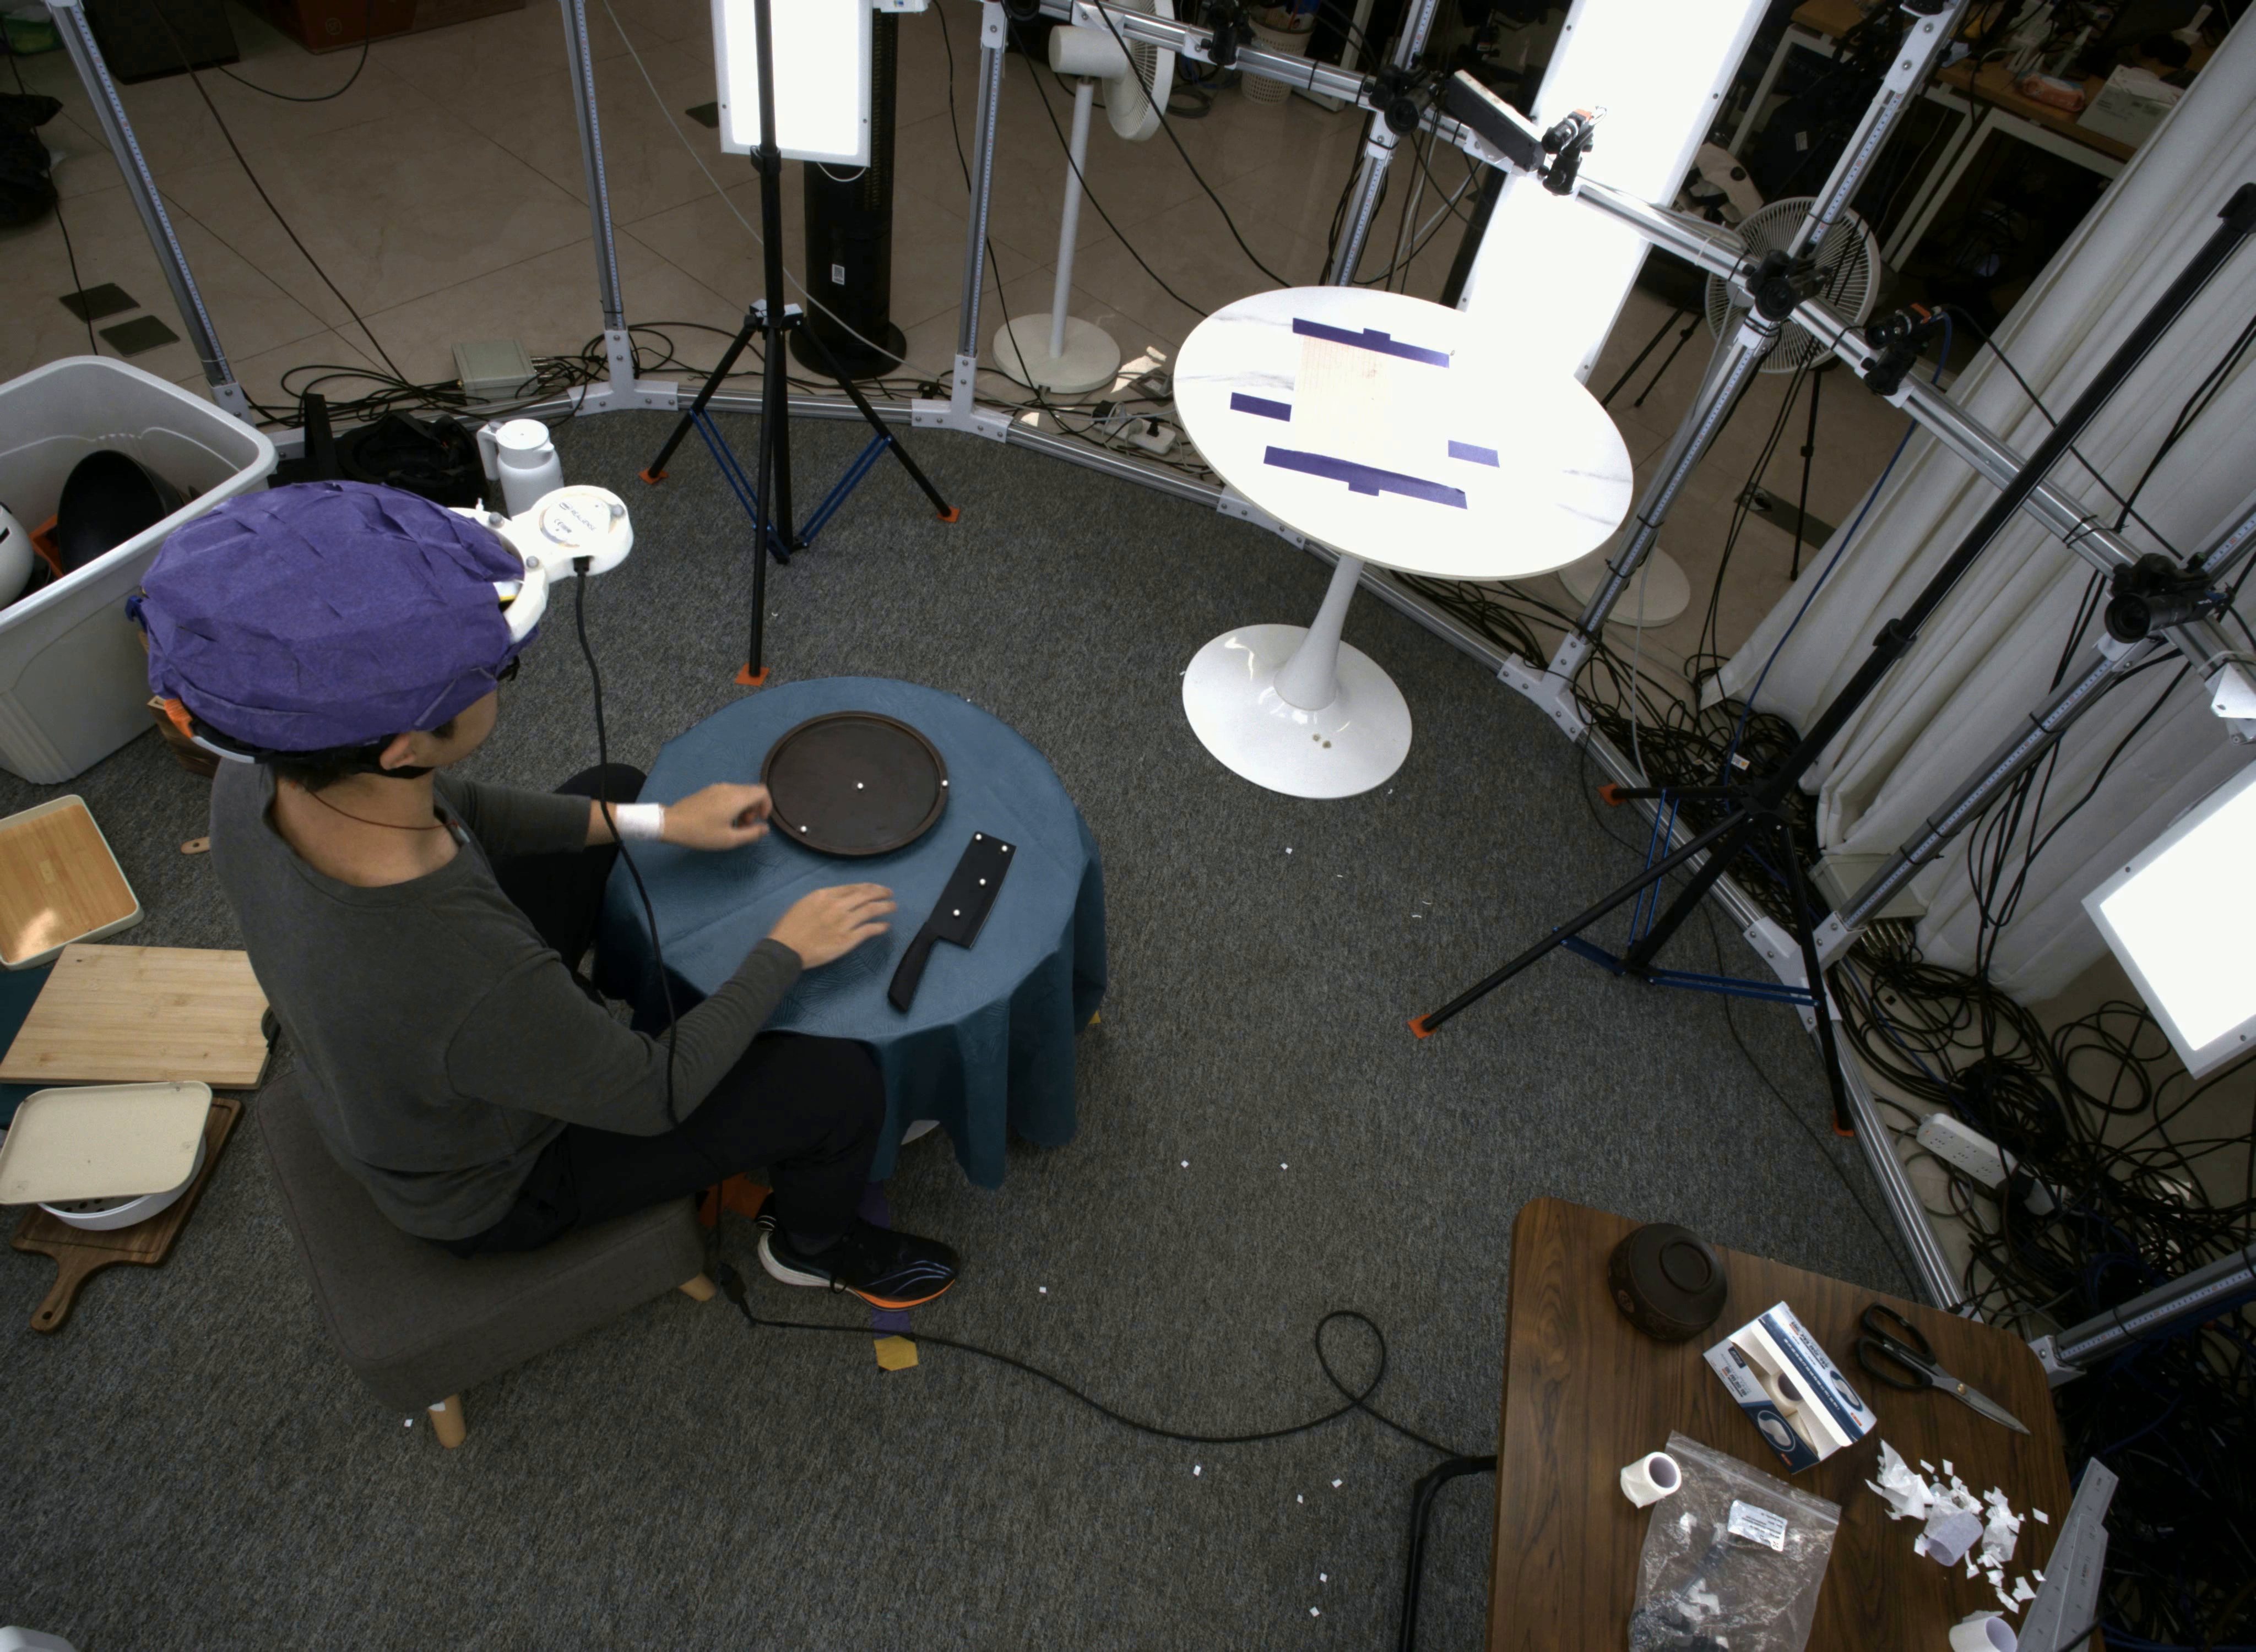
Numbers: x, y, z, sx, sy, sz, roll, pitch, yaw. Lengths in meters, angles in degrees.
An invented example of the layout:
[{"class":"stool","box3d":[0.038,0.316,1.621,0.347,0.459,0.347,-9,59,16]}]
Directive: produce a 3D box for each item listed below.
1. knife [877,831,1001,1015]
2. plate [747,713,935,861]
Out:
[{"class":"knife","box3d":[-0.244,0.119,1.684,0.080,0.021,0.300,24,50,3]},{"class":"plate","box3d":[-0.391,-0.055,1.770,0.254,0.029,0.250,8,52,-9]}]
